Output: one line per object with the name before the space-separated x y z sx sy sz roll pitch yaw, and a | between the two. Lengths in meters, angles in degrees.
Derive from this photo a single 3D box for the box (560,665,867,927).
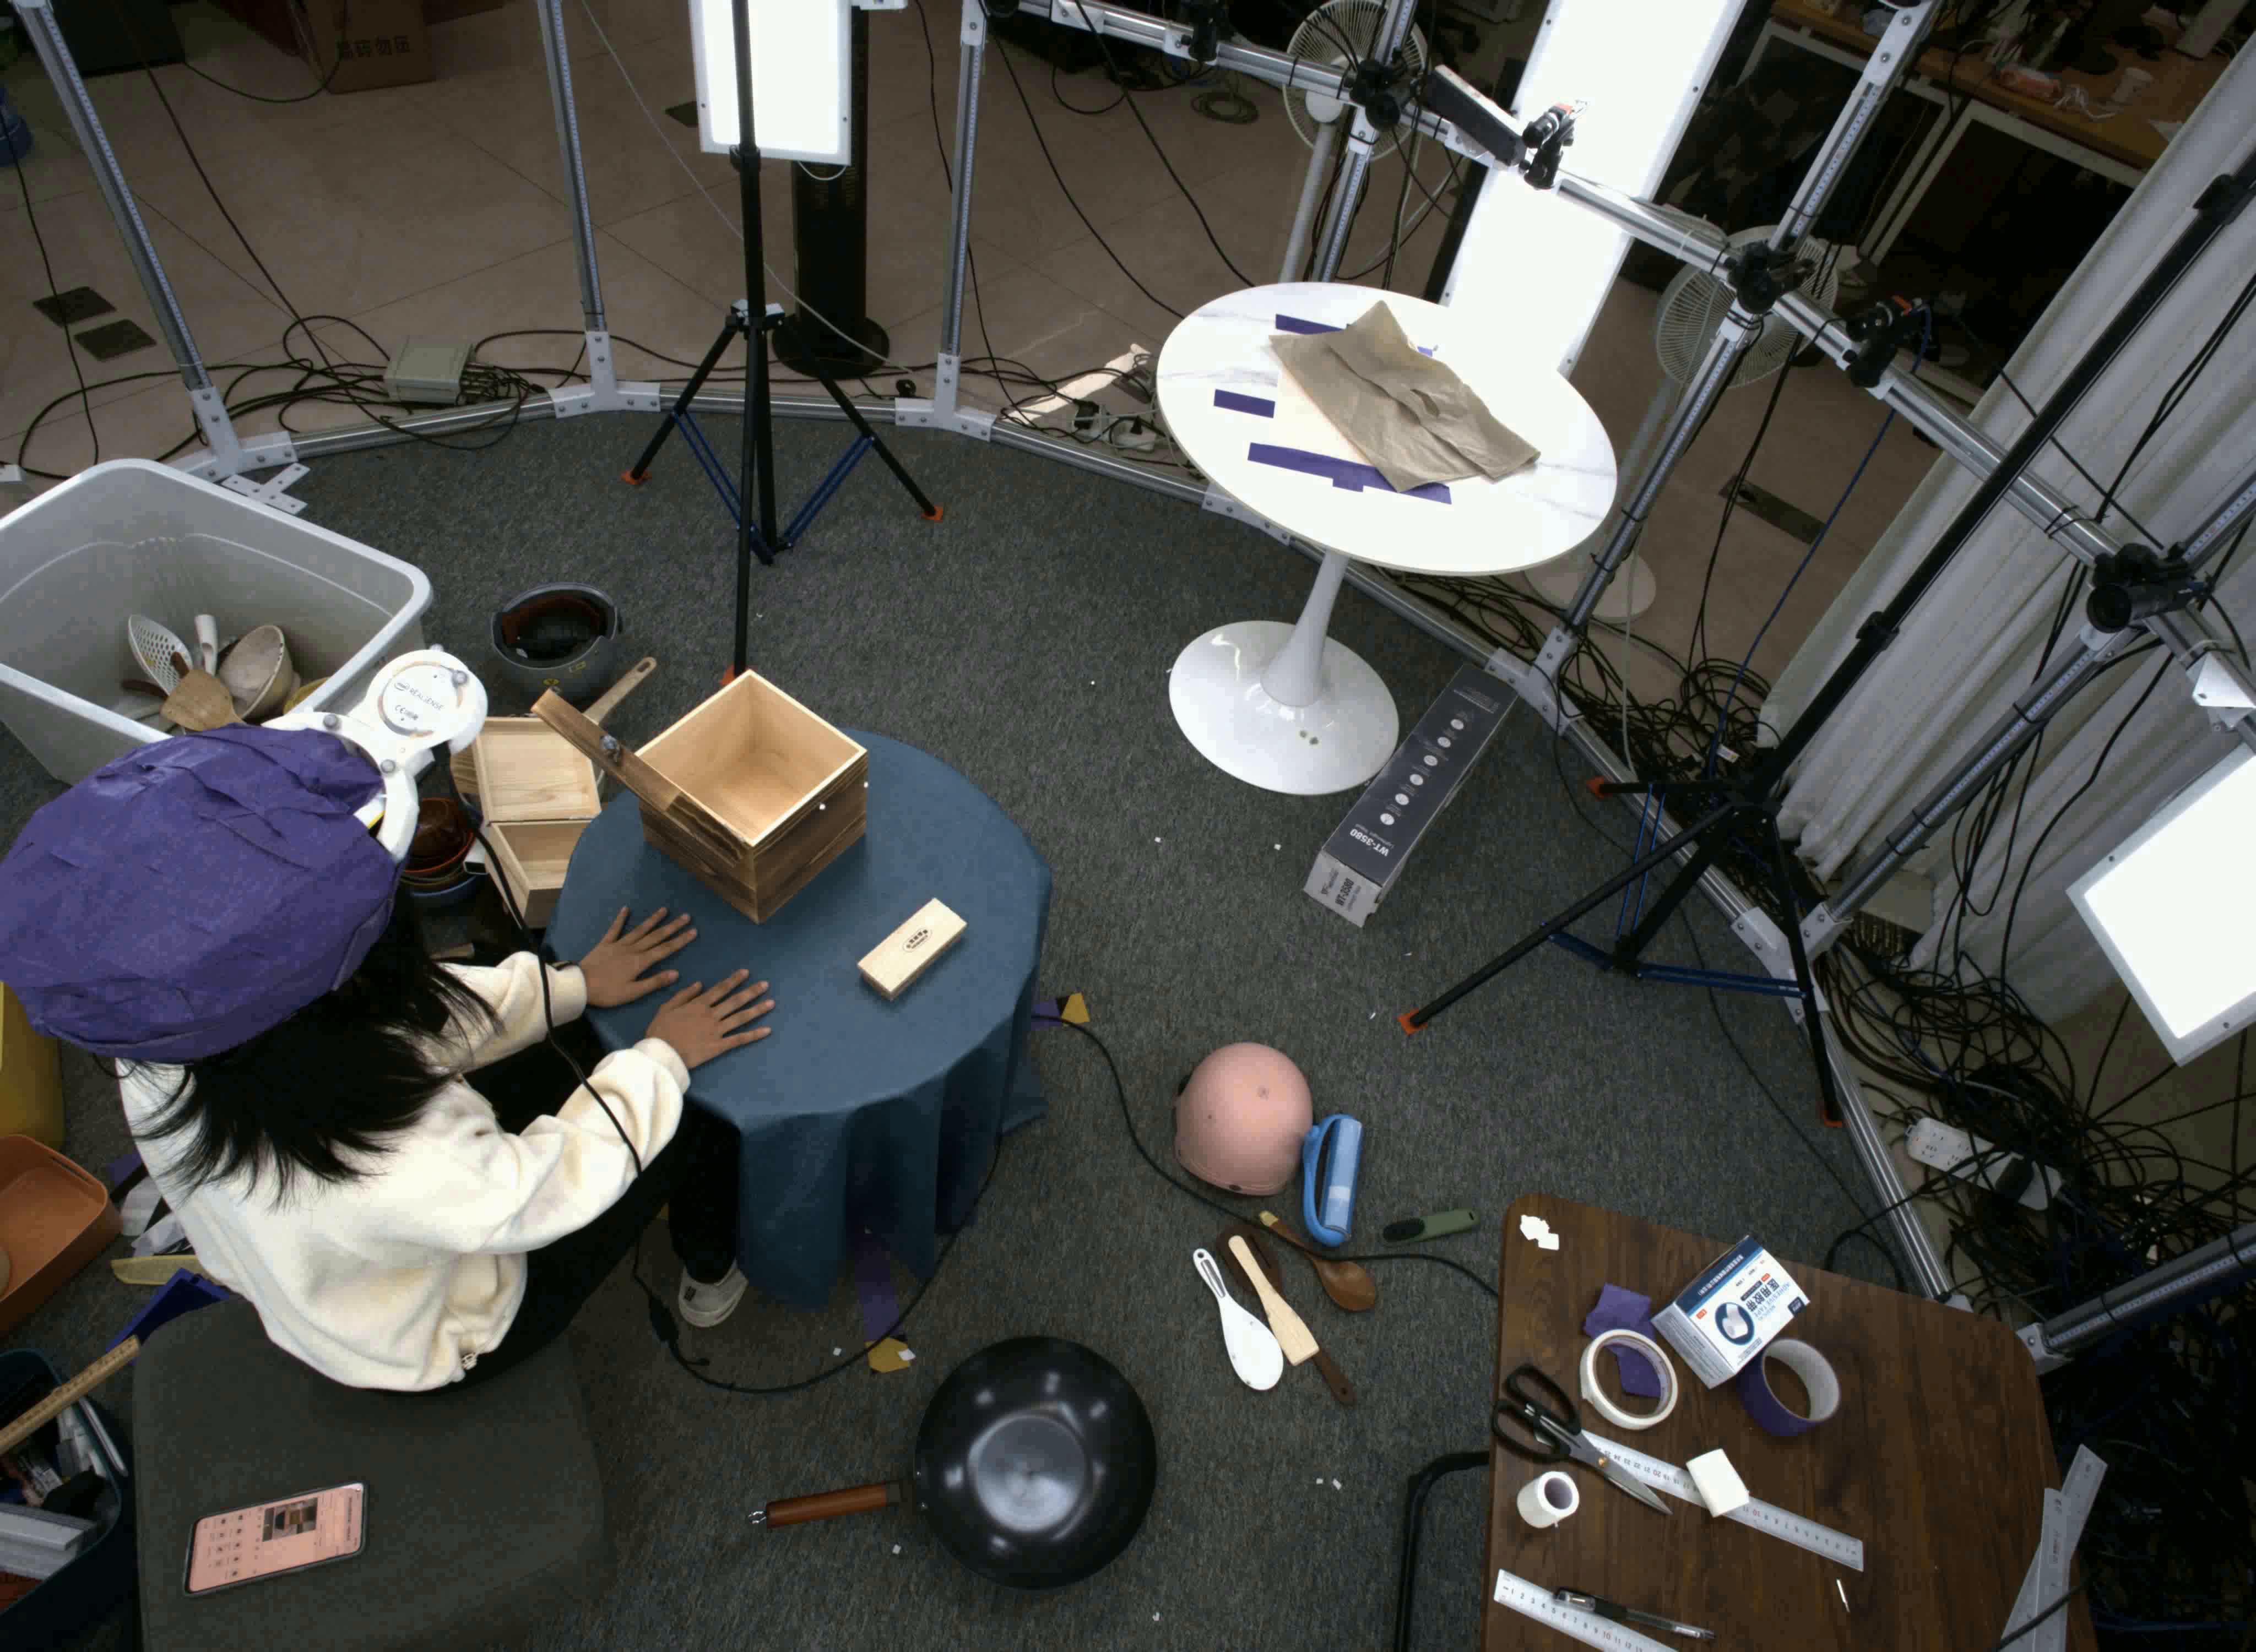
box | -0.484 -0.069 1.520 0.205 0.383 0.321 32 53 13

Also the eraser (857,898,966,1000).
eraser | -0.270 0.151 1.628 0.056 0.029 0.139 39 55 12
